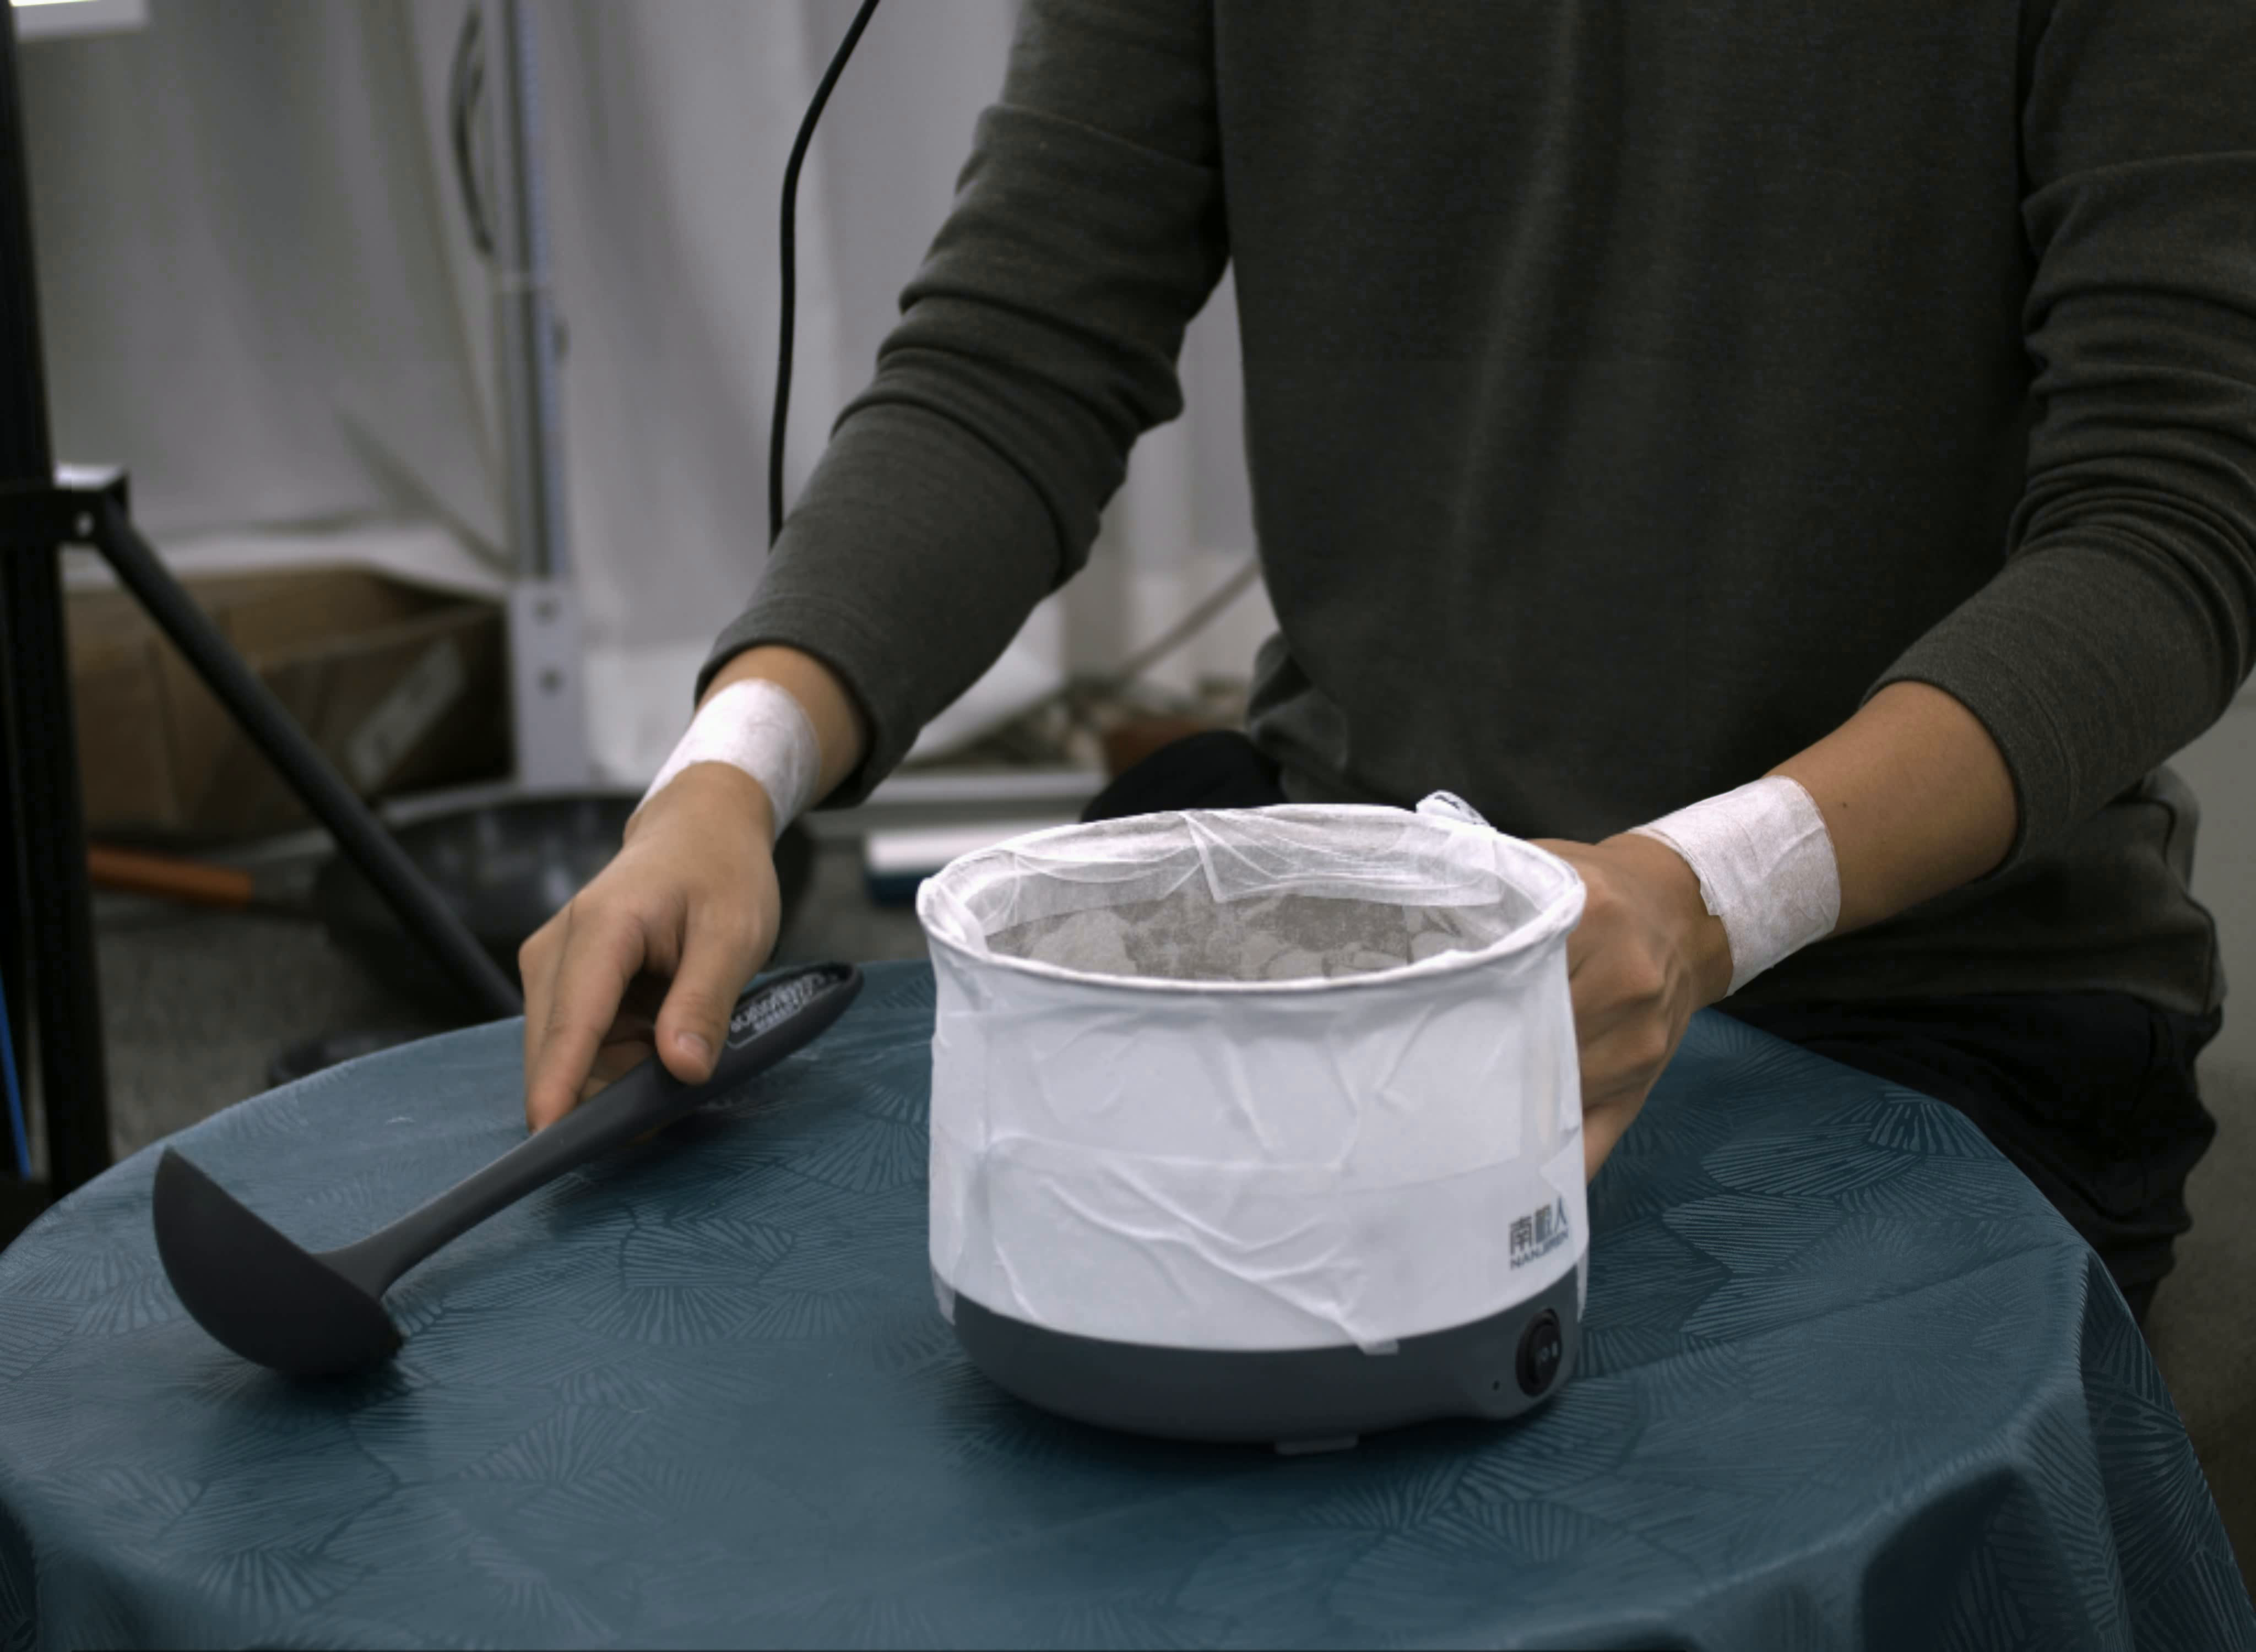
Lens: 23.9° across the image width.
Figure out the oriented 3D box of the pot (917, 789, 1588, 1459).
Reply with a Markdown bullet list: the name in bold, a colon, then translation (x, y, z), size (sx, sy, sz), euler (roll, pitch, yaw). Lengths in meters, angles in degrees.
- **pot**: translation (0.049, 0.072, 1.429), size (0.182, 0.136, 0.229), euler (8, 18, 33)

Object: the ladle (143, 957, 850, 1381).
- **ladle**: translation (-0.164, 0.079, 1.540), size (0.087, 0.064, 0.308), euler (40, 37, 15)
